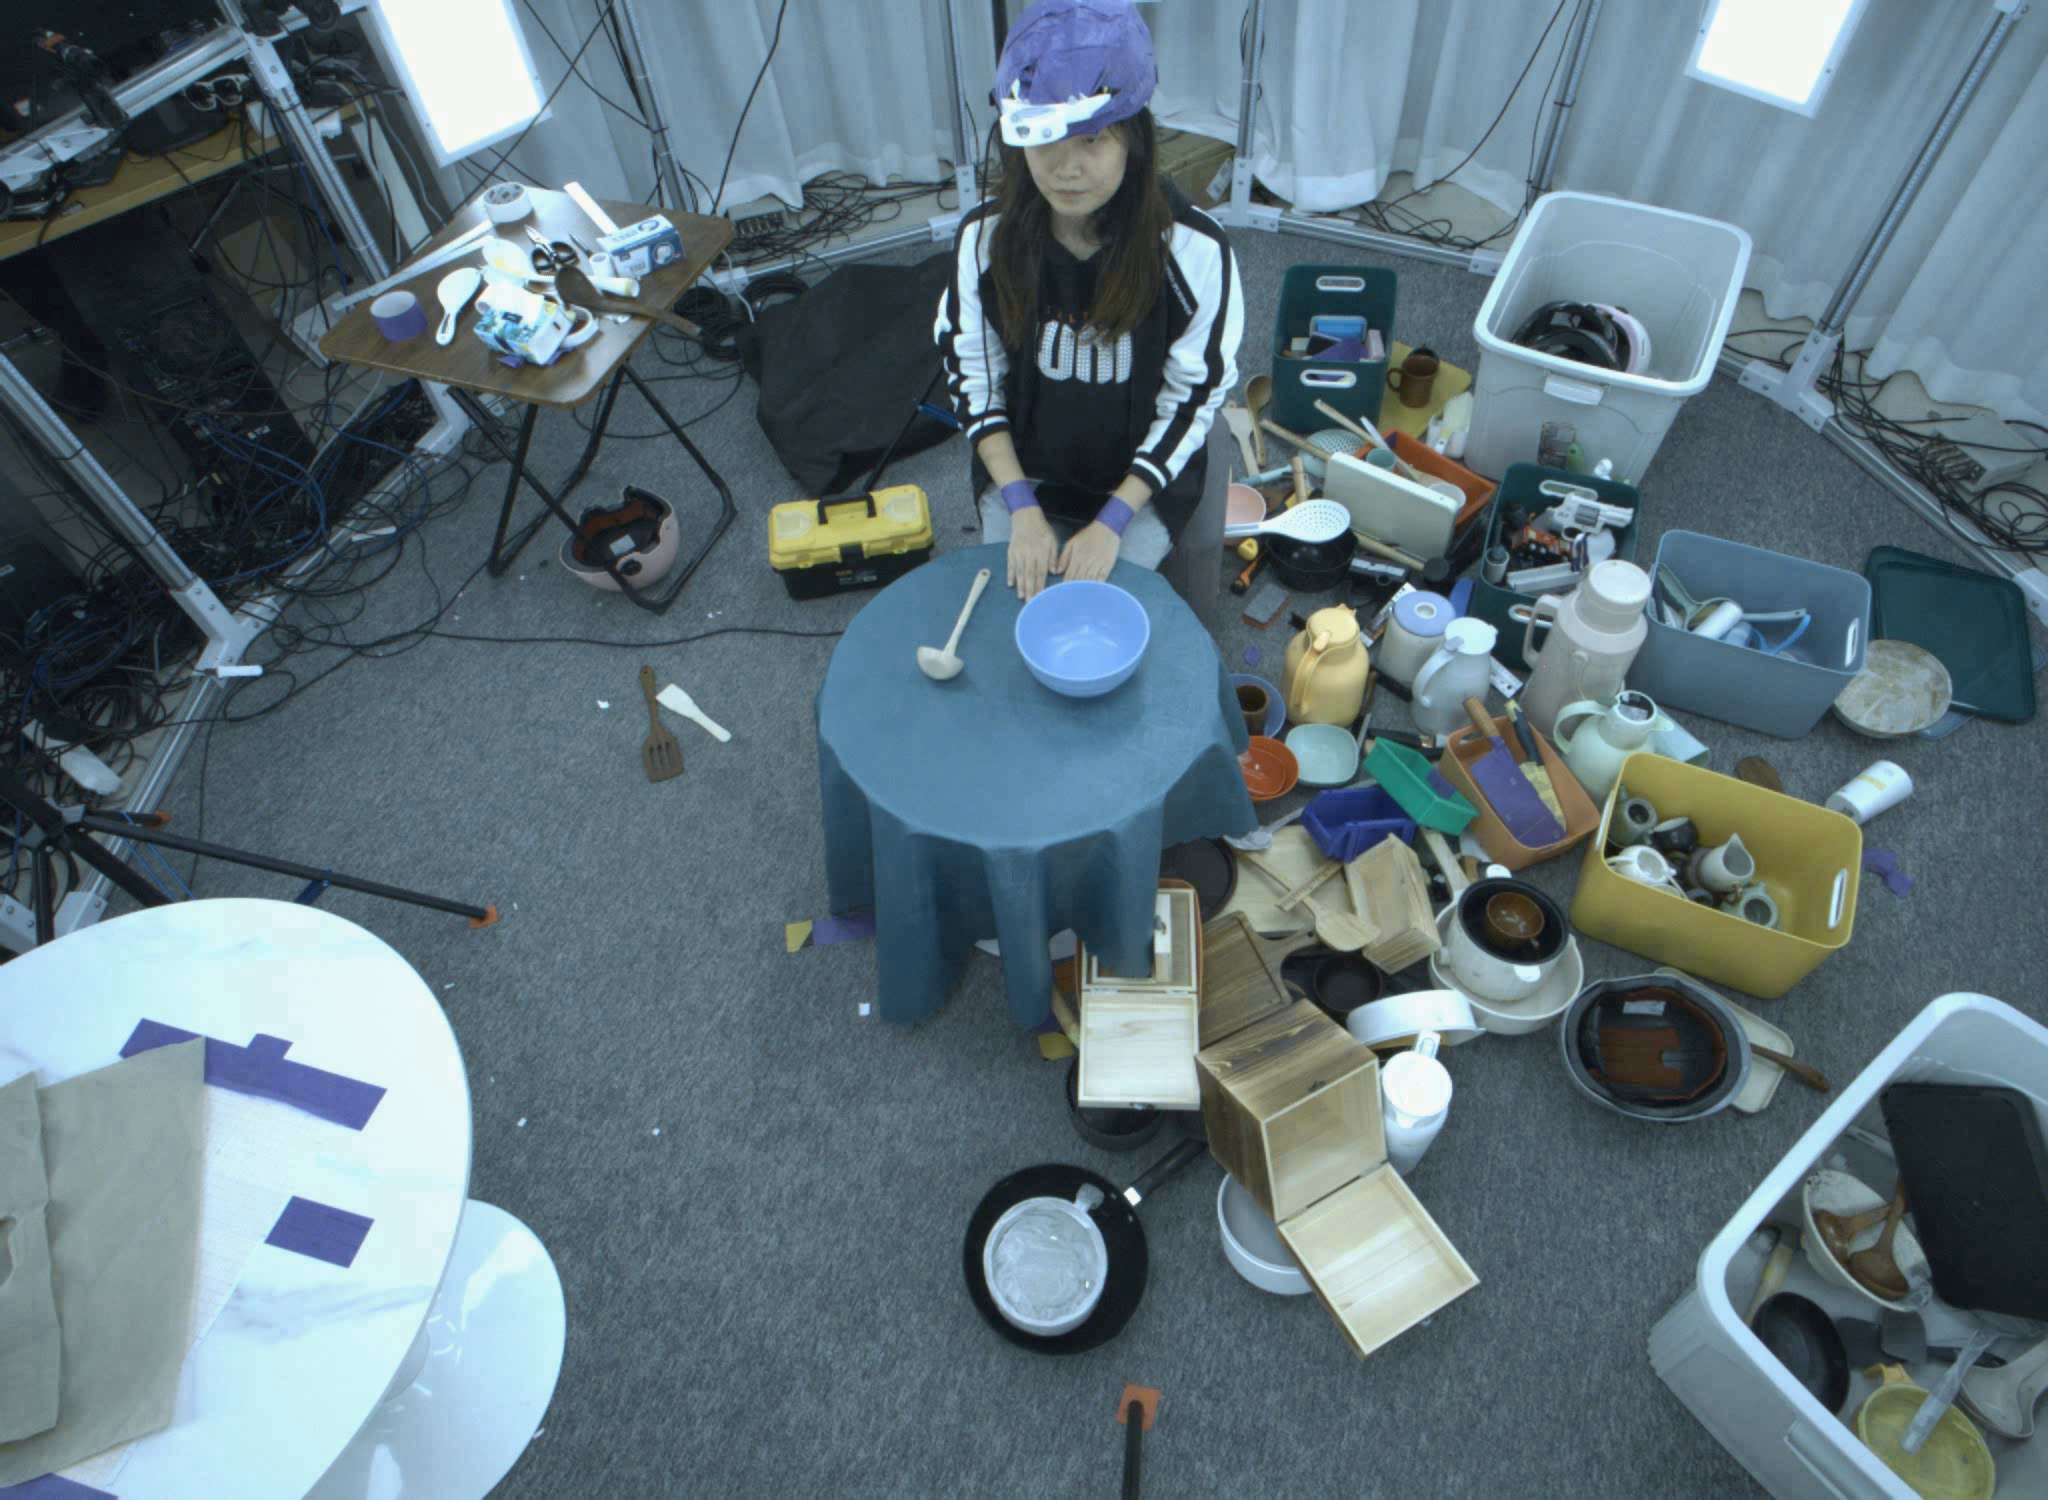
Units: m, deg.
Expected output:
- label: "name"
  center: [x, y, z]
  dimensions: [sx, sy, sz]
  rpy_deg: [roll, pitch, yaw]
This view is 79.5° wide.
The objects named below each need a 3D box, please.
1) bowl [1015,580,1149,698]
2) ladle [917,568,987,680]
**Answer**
- label: "bowl"
  center: [0.089, -0.150, 1.835]
  dimensions: [0.196, 0.096, 0.194]
  rpy_deg: [-2, 55, 4]
- label: "ladle"
  center: [-0.099, -0.217, 1.899]
  dimensions: [0.072, 0.073, 0.253]
  rpy_deg: [16, 57, 5]
